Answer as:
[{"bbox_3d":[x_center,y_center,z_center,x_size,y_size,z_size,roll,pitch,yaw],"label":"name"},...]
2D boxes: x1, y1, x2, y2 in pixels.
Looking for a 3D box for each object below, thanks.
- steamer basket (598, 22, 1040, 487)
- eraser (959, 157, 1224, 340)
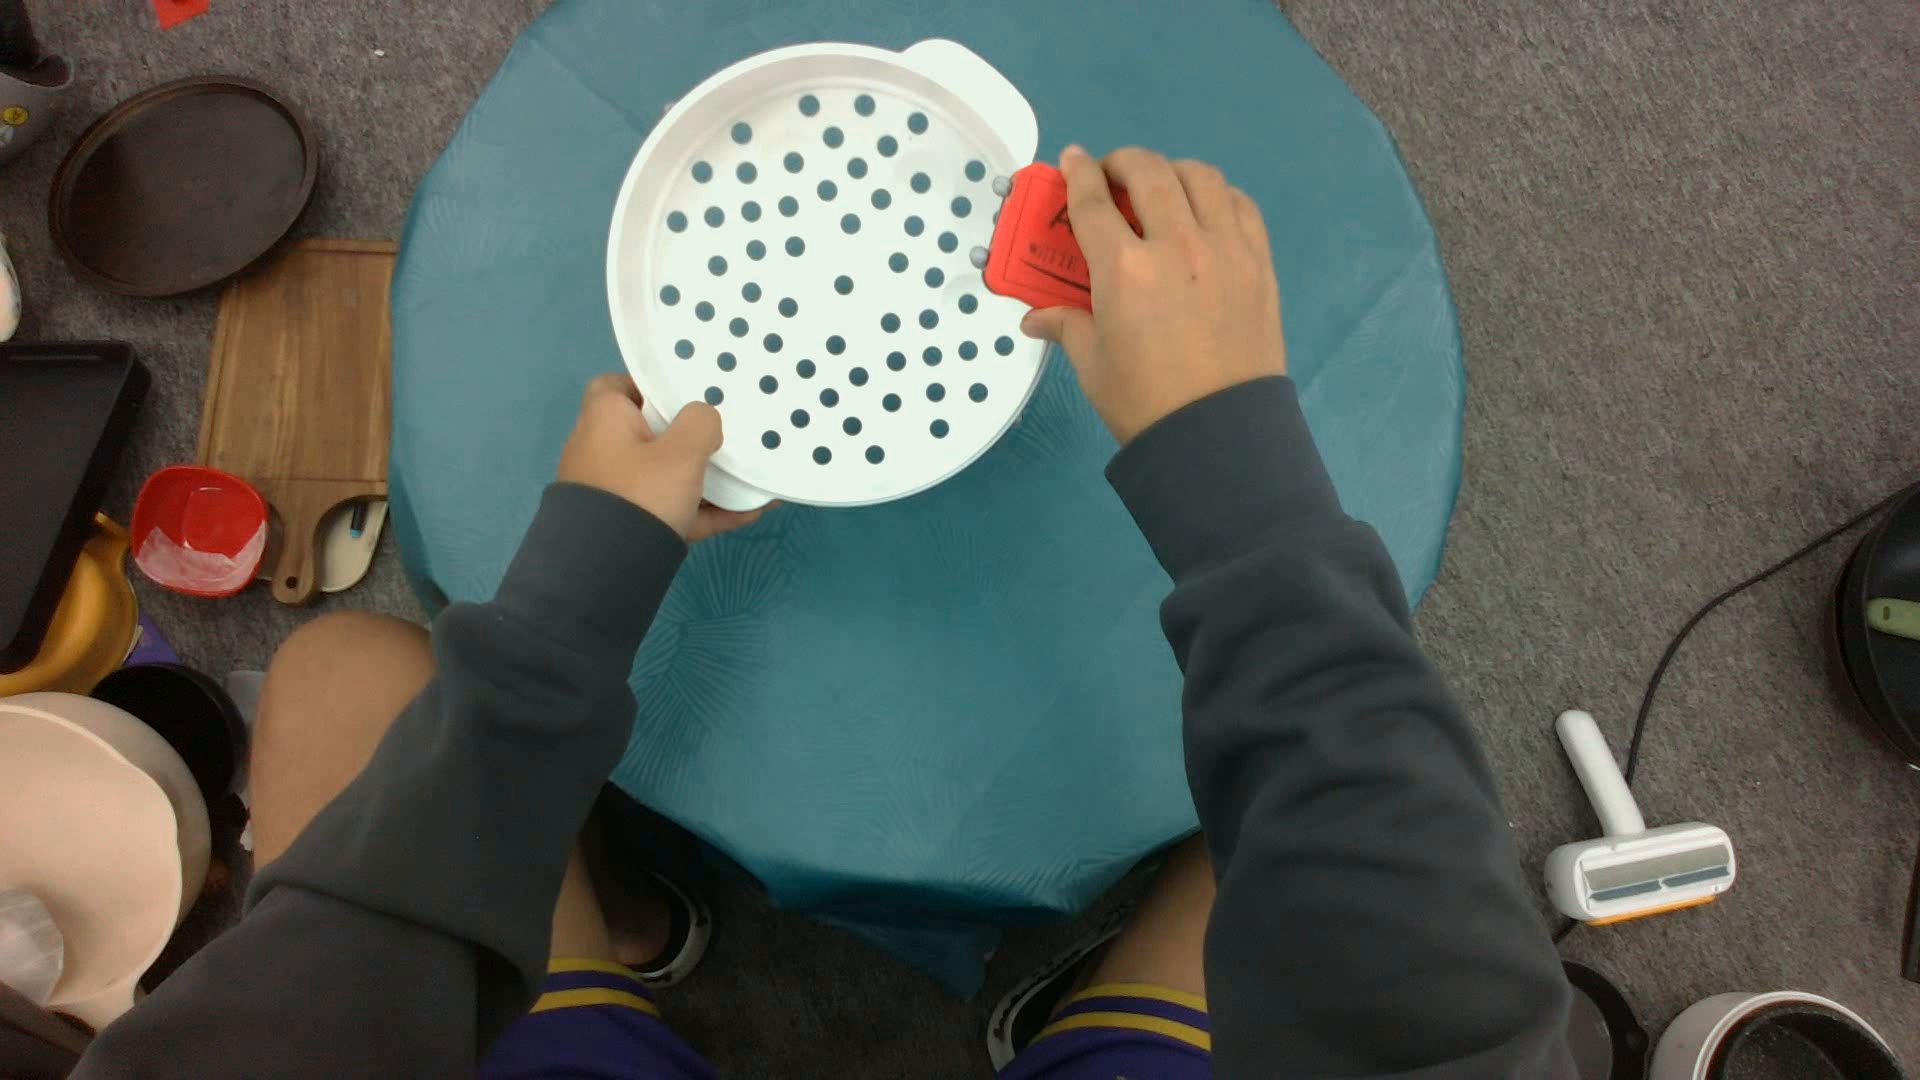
[{"bbox_3d":[-0.063,-0.132,0.649,0.202,0.069,0.230,36,100,-12],"label":"steamer basket"},{"bbox_3d":[0.057,-0.126,0.602,0.108,0.023,0.059,12,101,-12],"label":"eraser"}]
